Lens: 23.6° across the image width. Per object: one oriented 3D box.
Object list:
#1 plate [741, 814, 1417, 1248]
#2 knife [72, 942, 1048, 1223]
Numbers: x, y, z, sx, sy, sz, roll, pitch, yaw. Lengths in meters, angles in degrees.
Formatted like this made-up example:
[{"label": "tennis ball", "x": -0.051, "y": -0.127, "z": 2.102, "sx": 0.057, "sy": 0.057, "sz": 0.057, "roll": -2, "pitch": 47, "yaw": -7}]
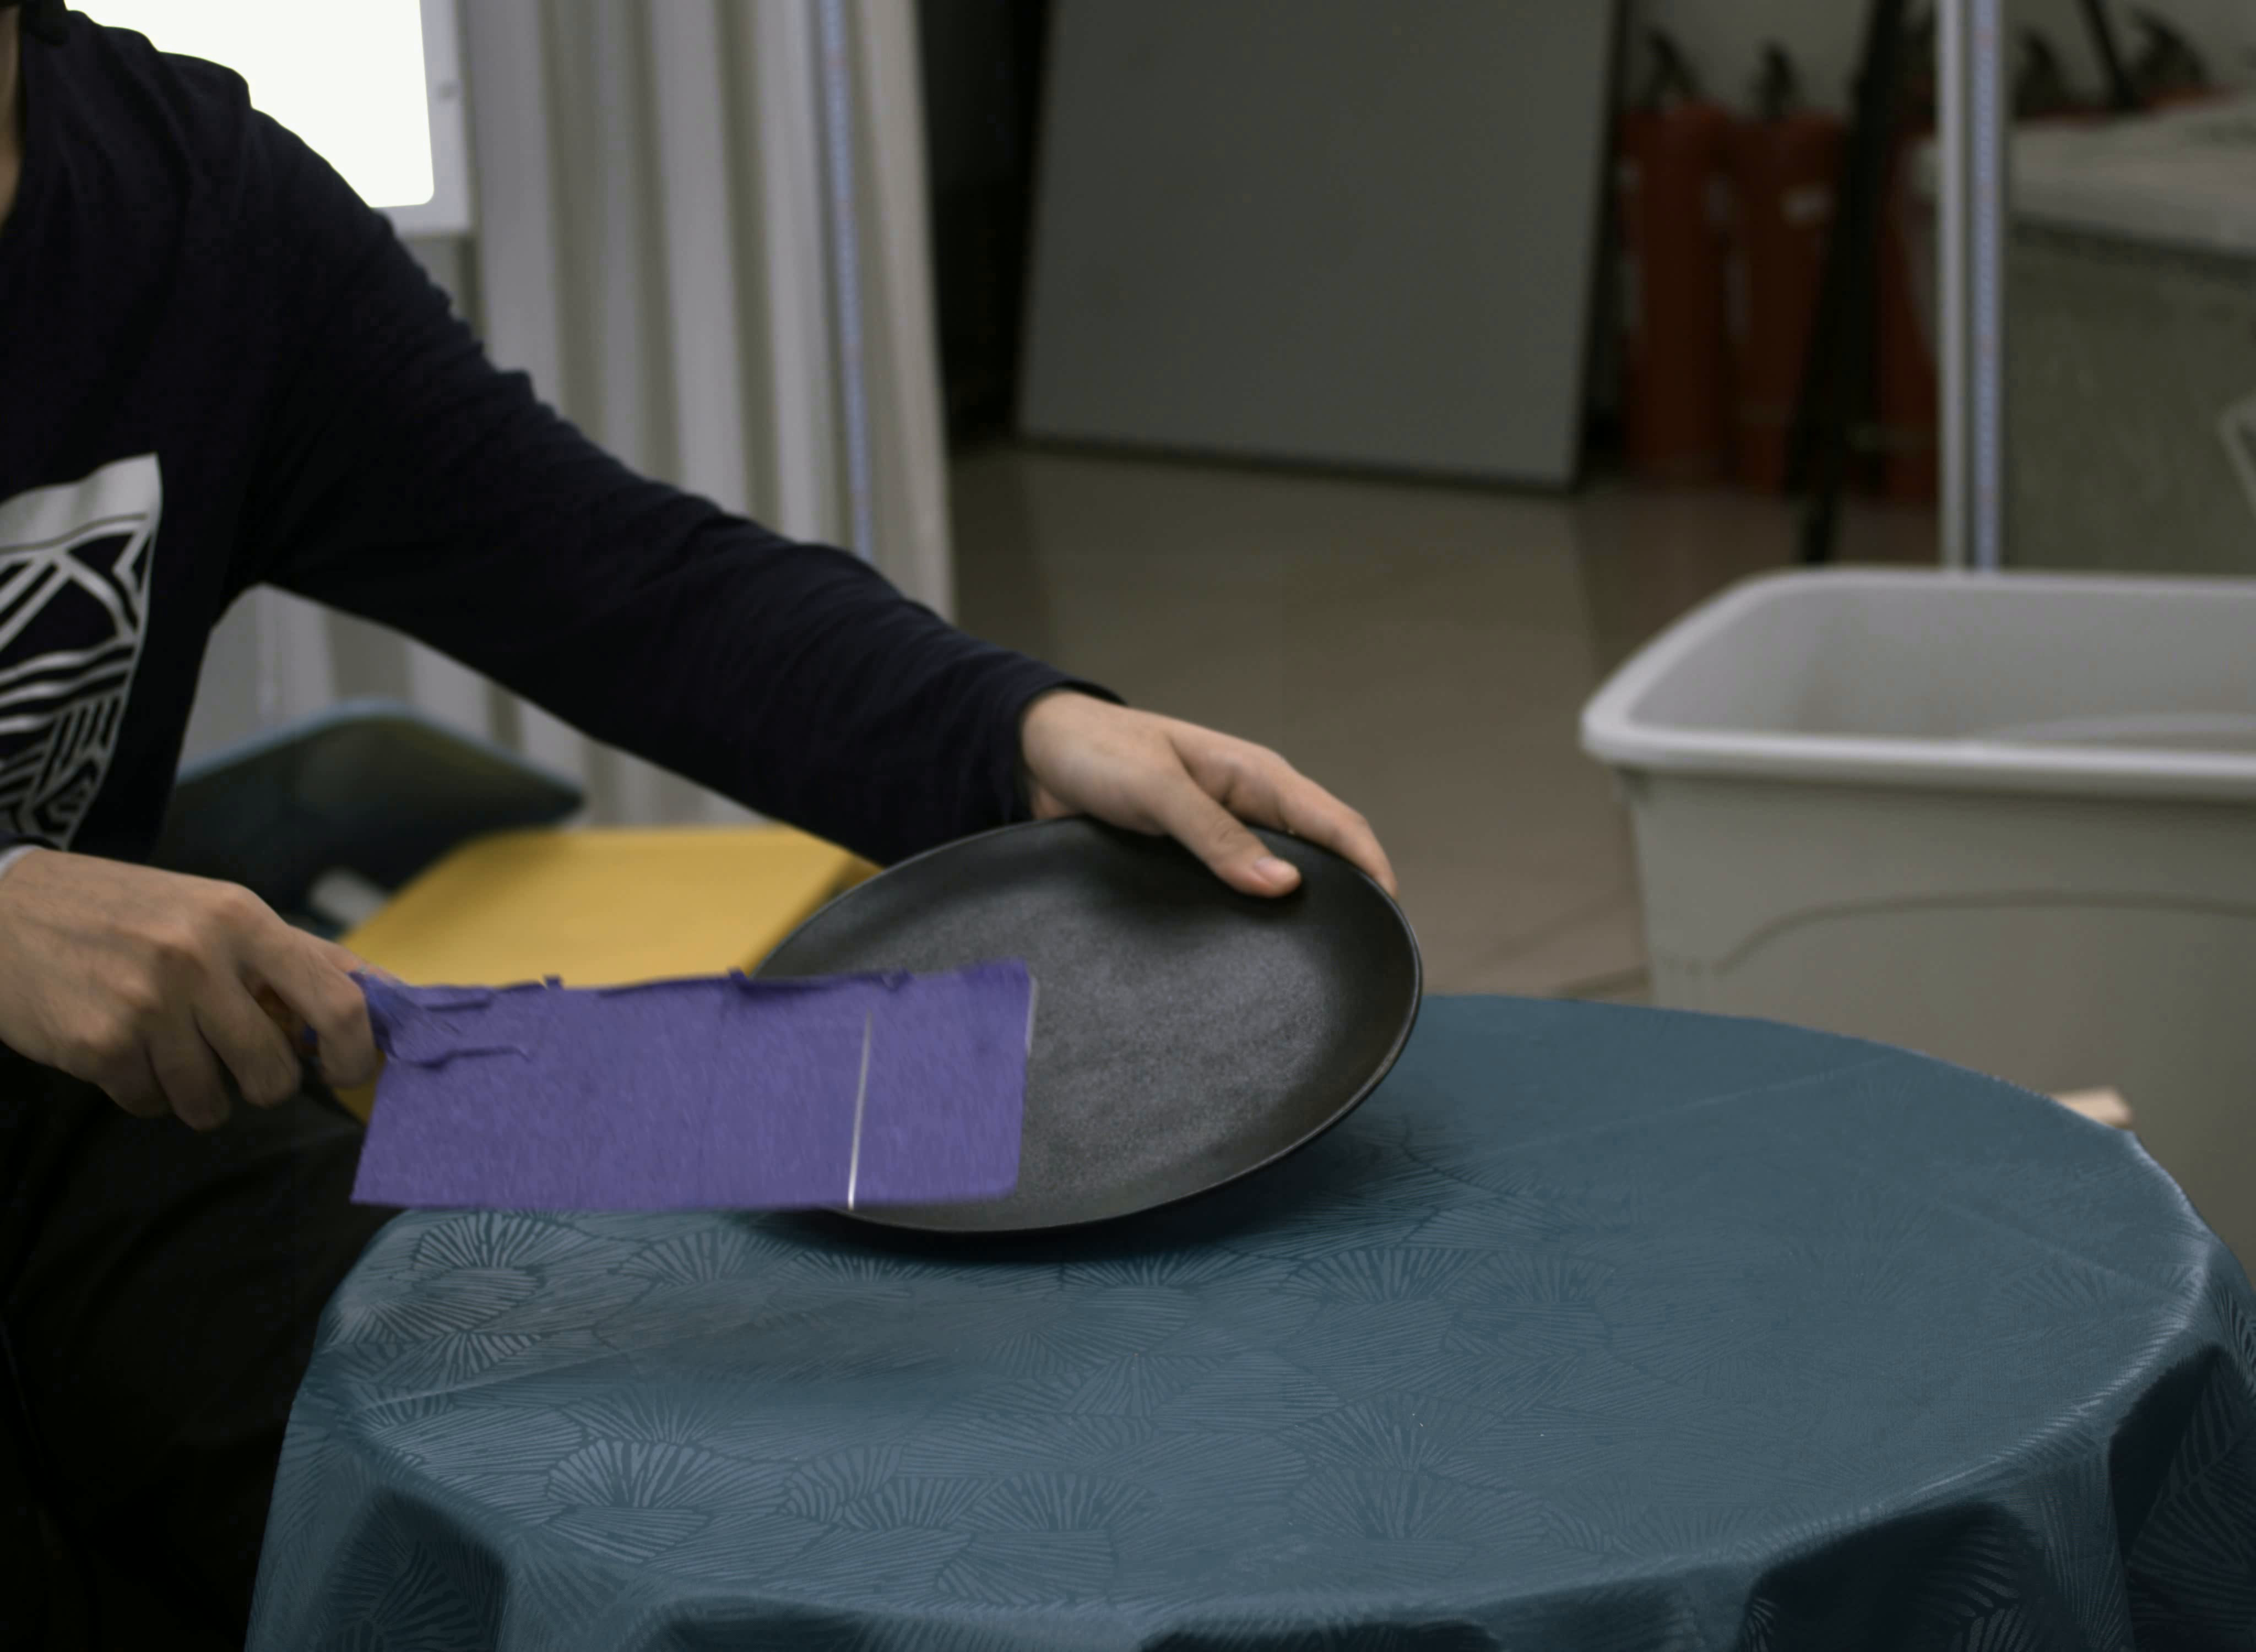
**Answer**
[{"label": "plate", "x": -0.020, "y": 0.071, "z": 1.812, "sx": 0.242, "sy": 0.023, "sz": 0.246, "roll": -10, "pitch": 32, "yaw": 5}, {"label": "knife", "x": -0.179, "y": 0.080, "z": 1.654, "sx": 0.313, "sy": 0.032, "sz": 0.104, "roll": -4, "pitch": 45, "yaw": 13}]
